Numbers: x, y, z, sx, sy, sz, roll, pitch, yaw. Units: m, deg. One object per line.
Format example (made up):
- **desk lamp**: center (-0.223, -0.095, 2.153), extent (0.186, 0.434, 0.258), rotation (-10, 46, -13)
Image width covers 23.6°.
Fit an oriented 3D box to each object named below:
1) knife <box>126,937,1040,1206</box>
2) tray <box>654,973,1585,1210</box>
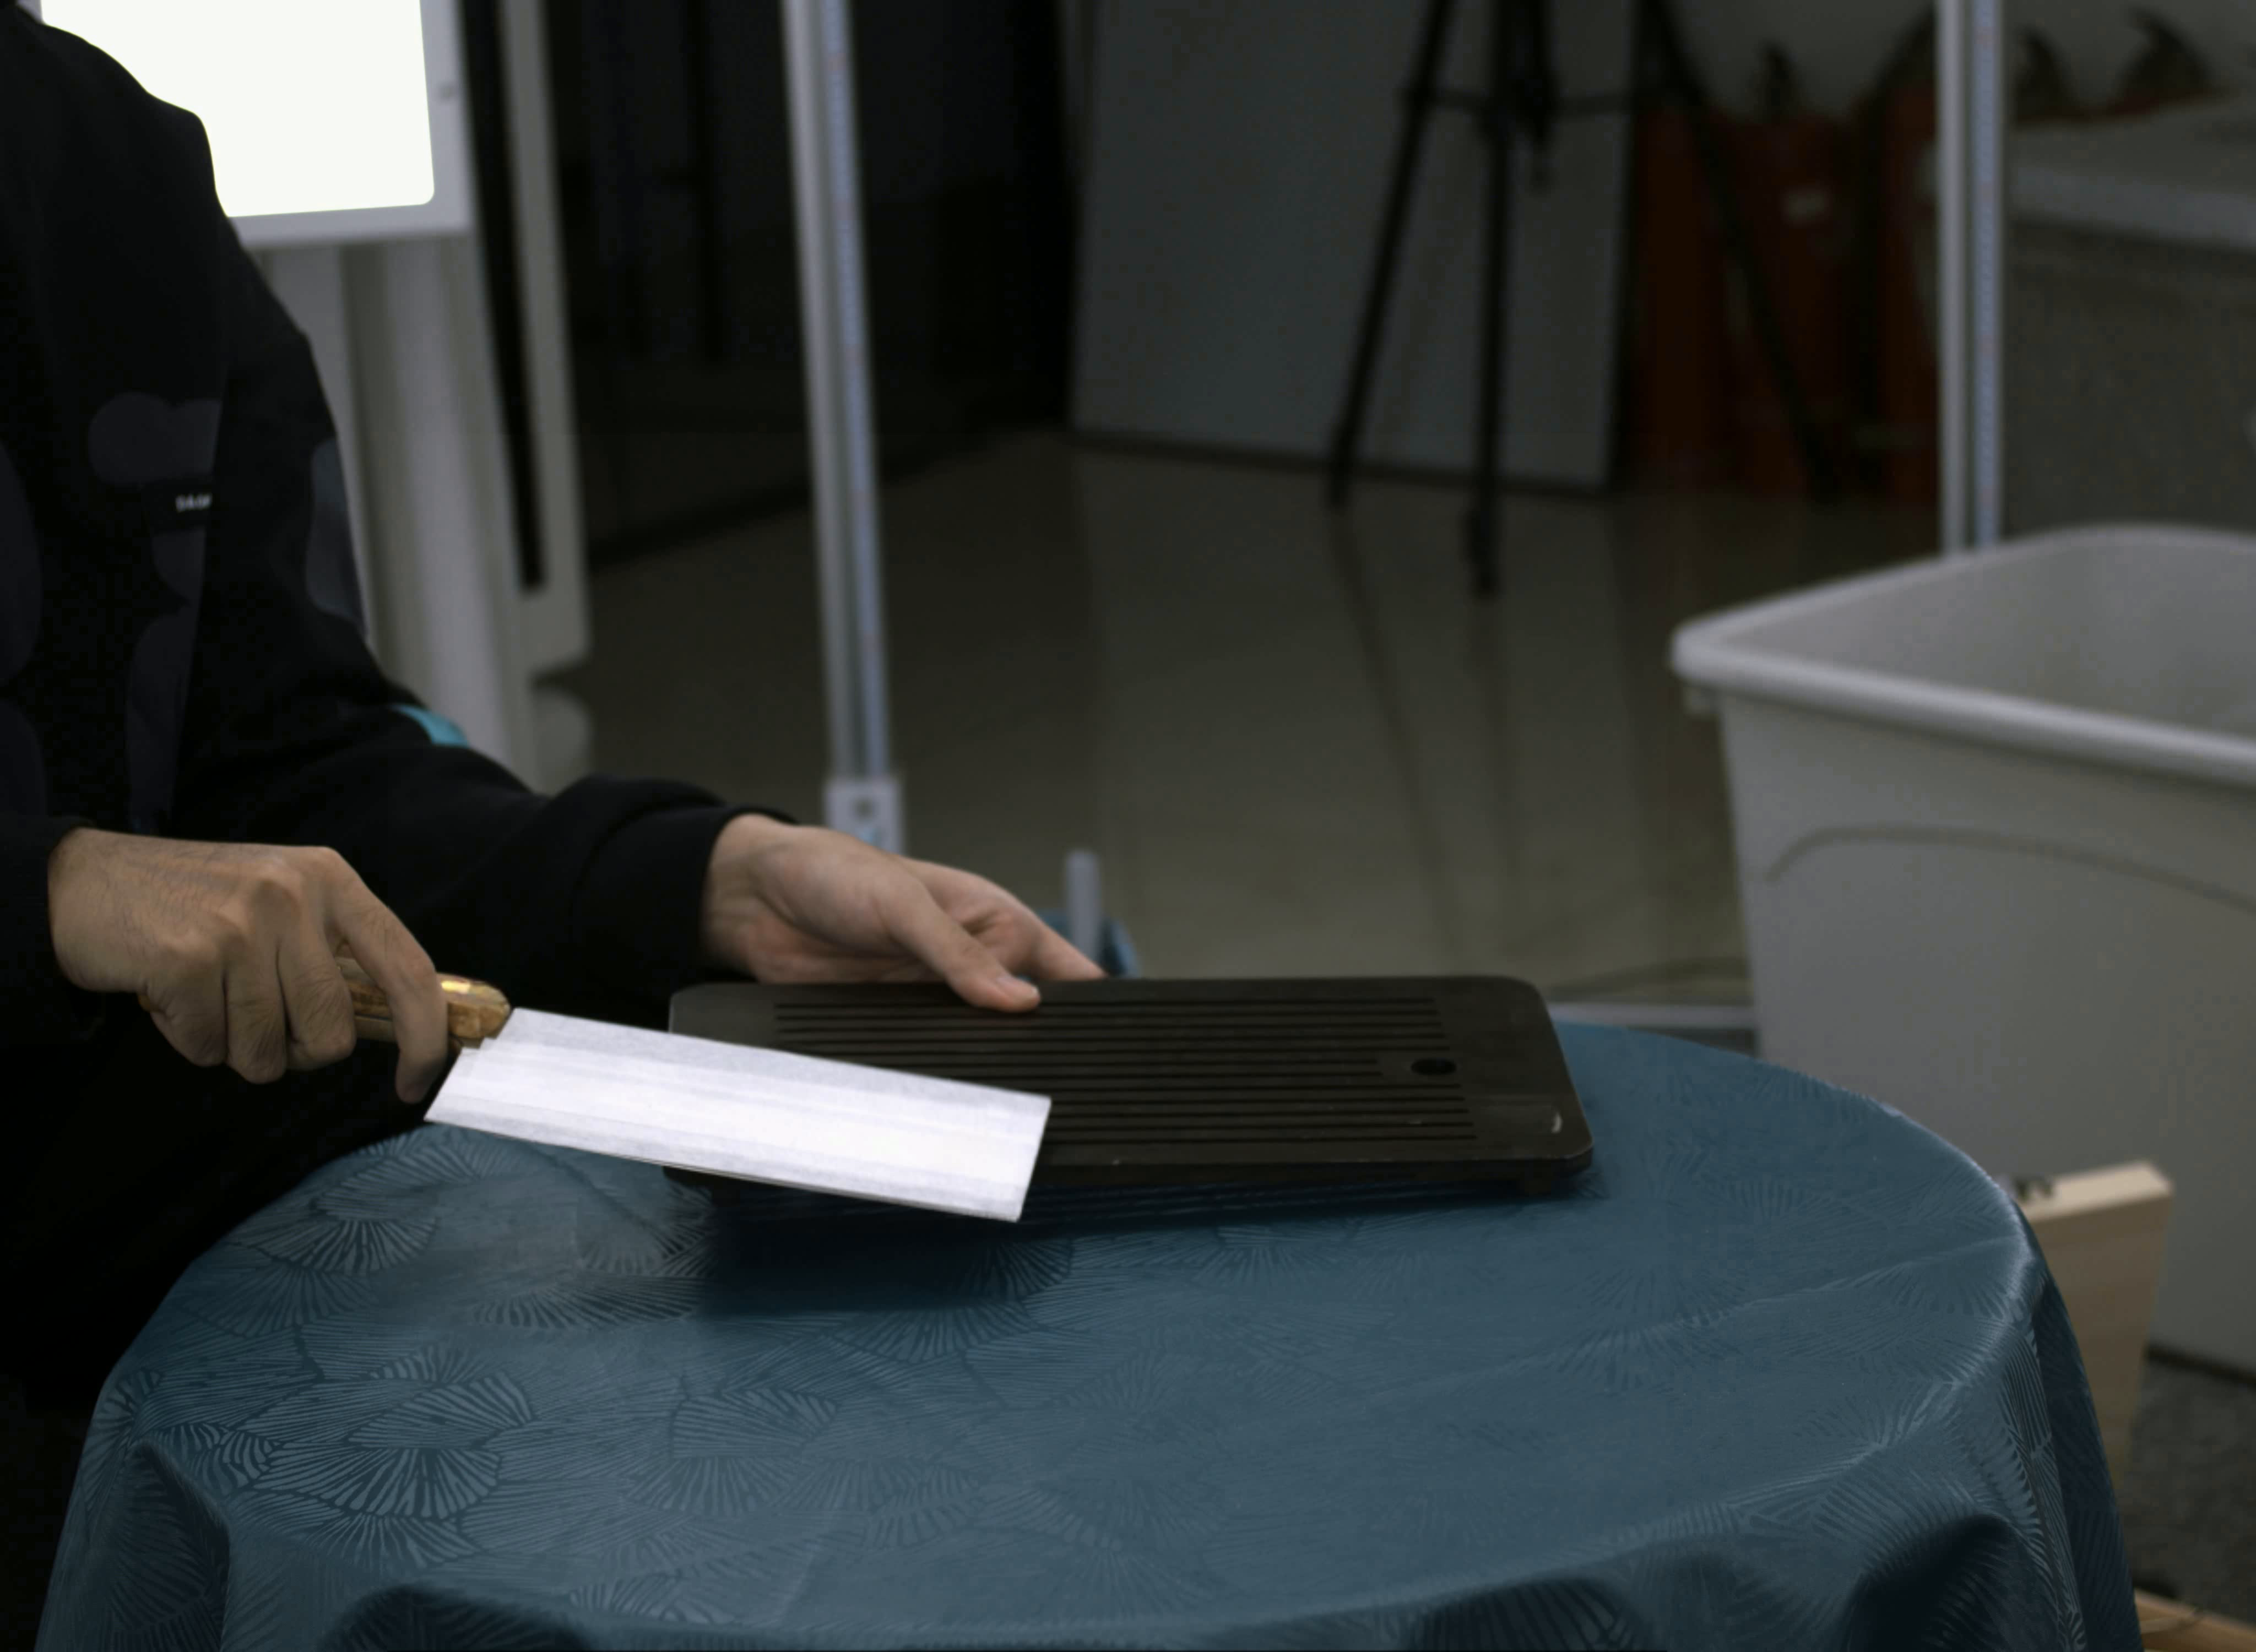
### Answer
- **knife**: center (-0.176, 0.082, 1.719), extent (0.302, 0.021, 0.093), rotation (10, 22, 4)
- **tray**: center (-0.005, 0.089, 1.806), extent (0.302, 0.019, 0.170), rotation (-1, 19, -1)
